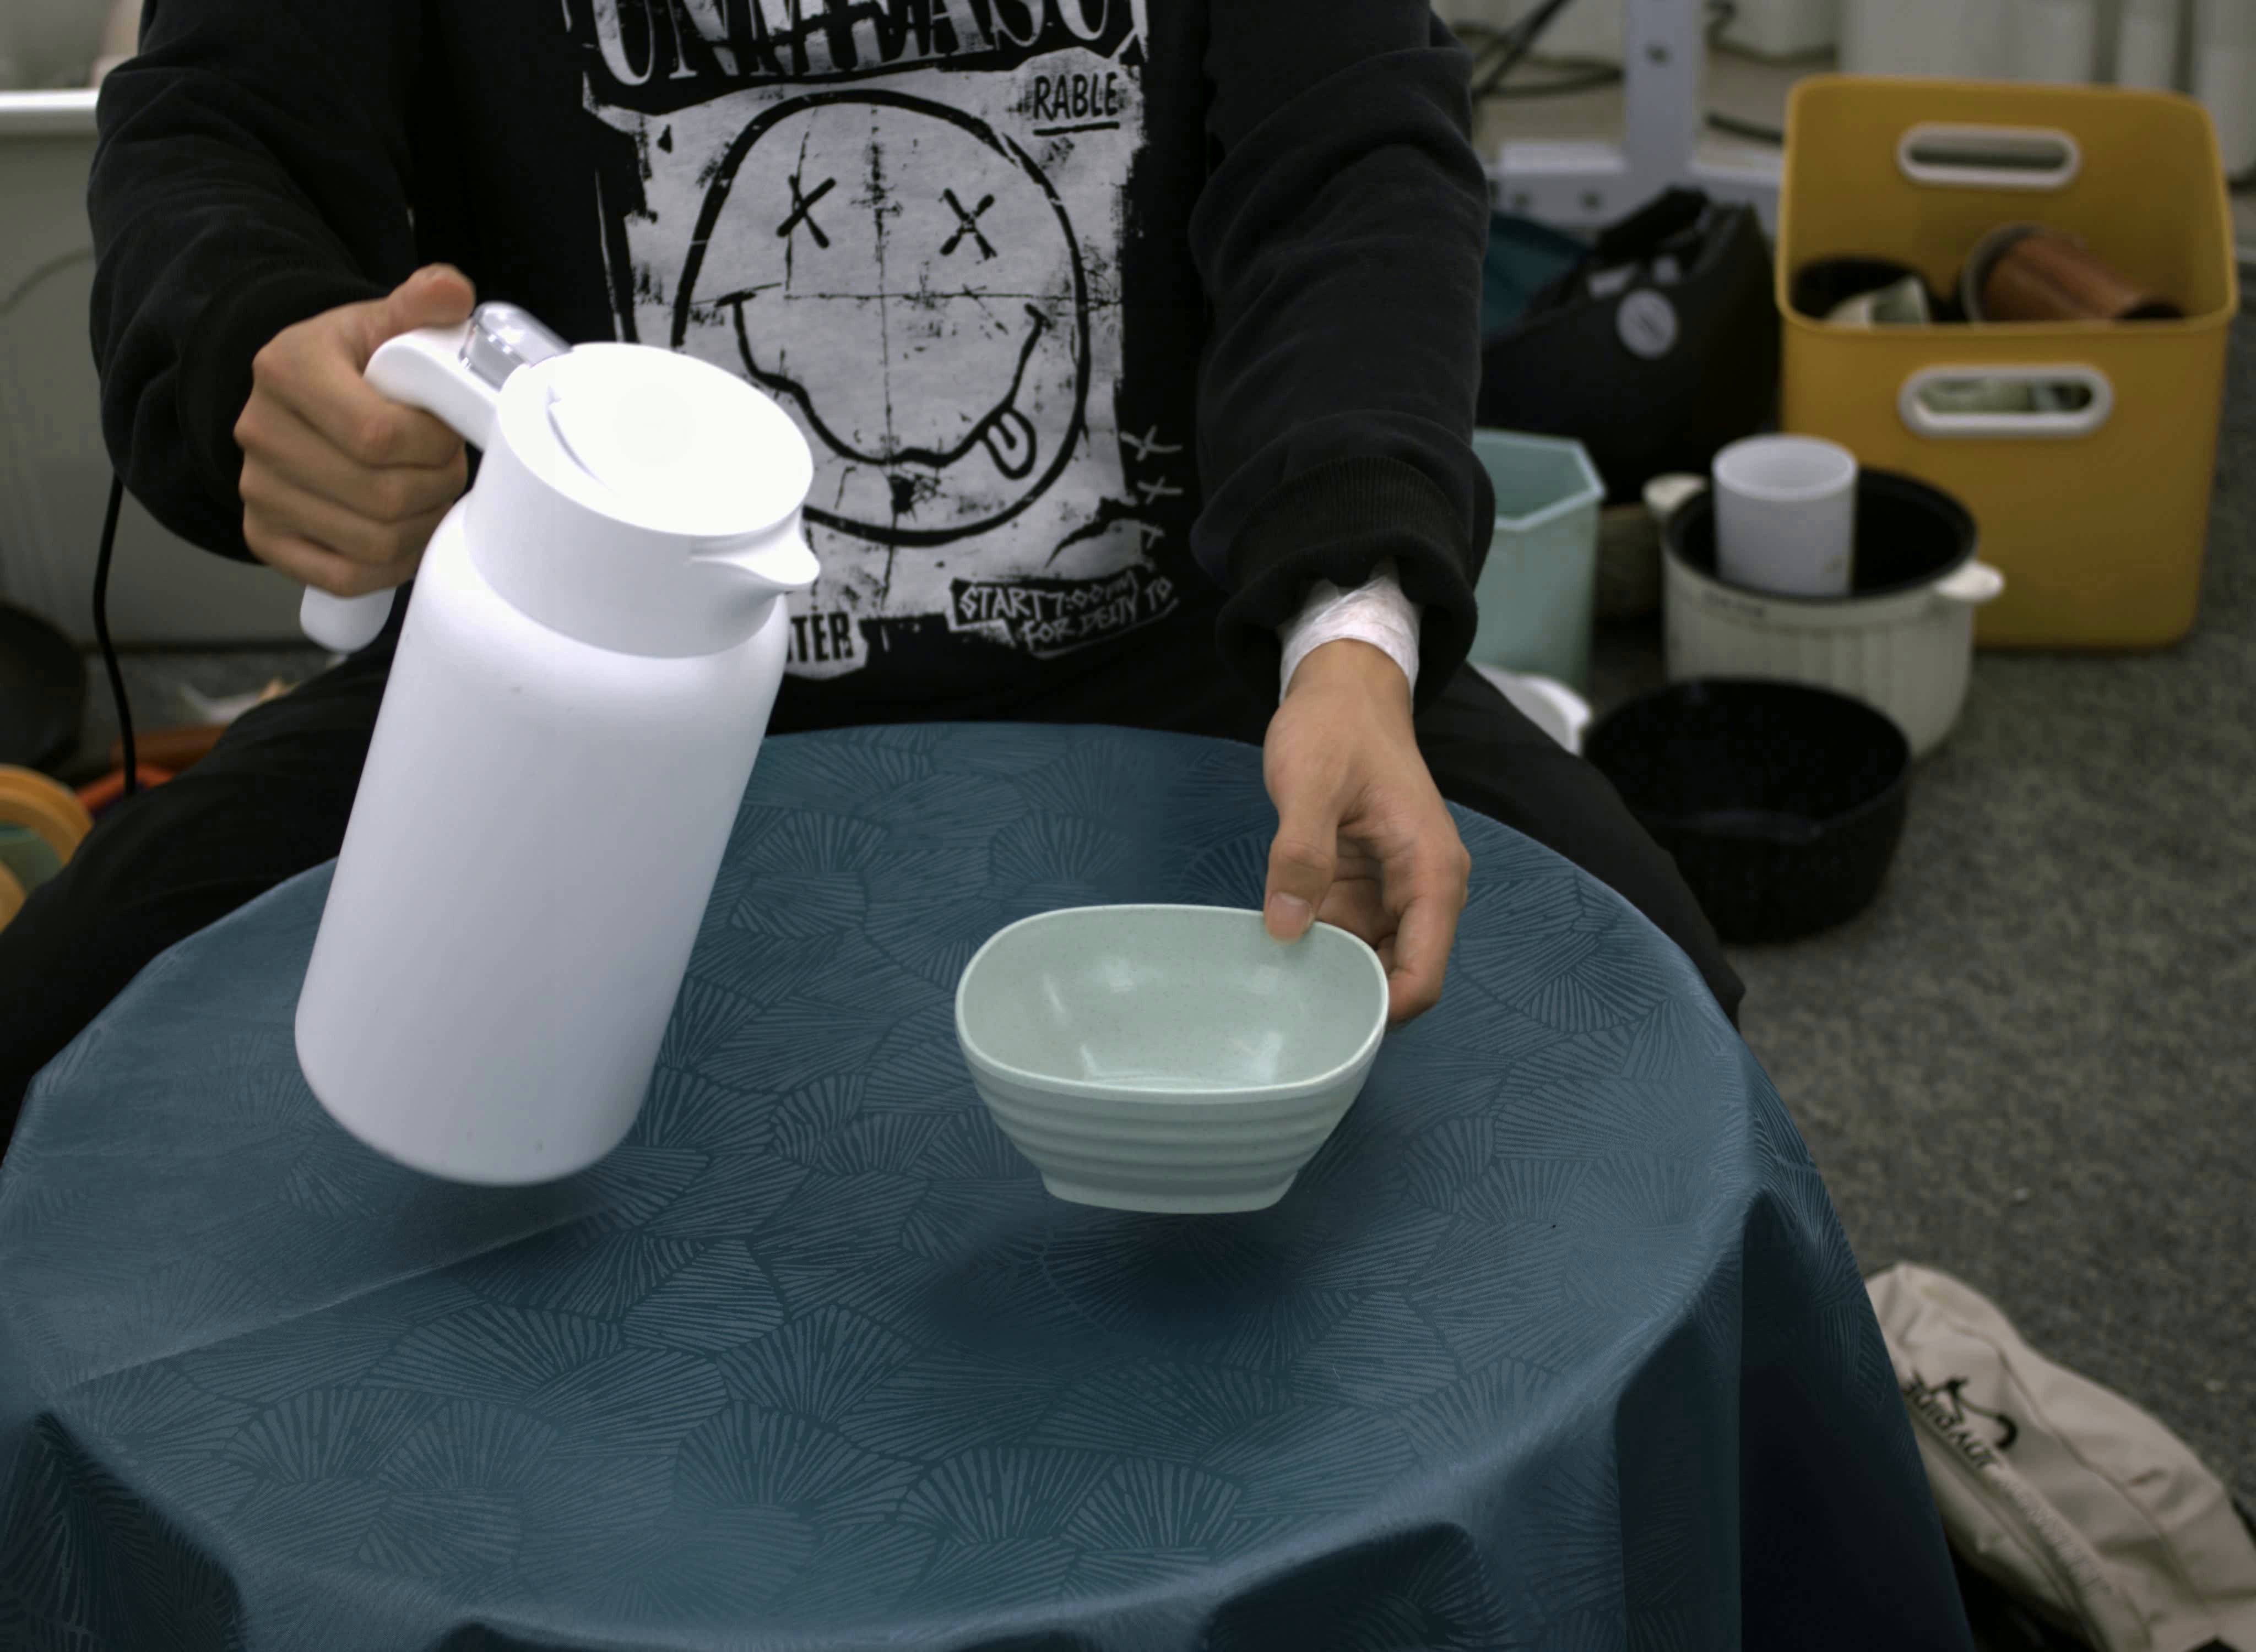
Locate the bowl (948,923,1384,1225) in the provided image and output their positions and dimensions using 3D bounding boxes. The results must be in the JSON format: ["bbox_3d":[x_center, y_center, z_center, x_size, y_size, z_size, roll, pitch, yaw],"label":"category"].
[{"bbox_3d":[0.012,0.084,1.800,0.151,0.058,0.153,0,21,0],"label":"bowl"}]

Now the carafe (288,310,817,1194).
[{"bbox_3d":[-0.196,-0.026,1.778,0.173,0.264,0.125,35,38,22],"label":"carafe"}]
